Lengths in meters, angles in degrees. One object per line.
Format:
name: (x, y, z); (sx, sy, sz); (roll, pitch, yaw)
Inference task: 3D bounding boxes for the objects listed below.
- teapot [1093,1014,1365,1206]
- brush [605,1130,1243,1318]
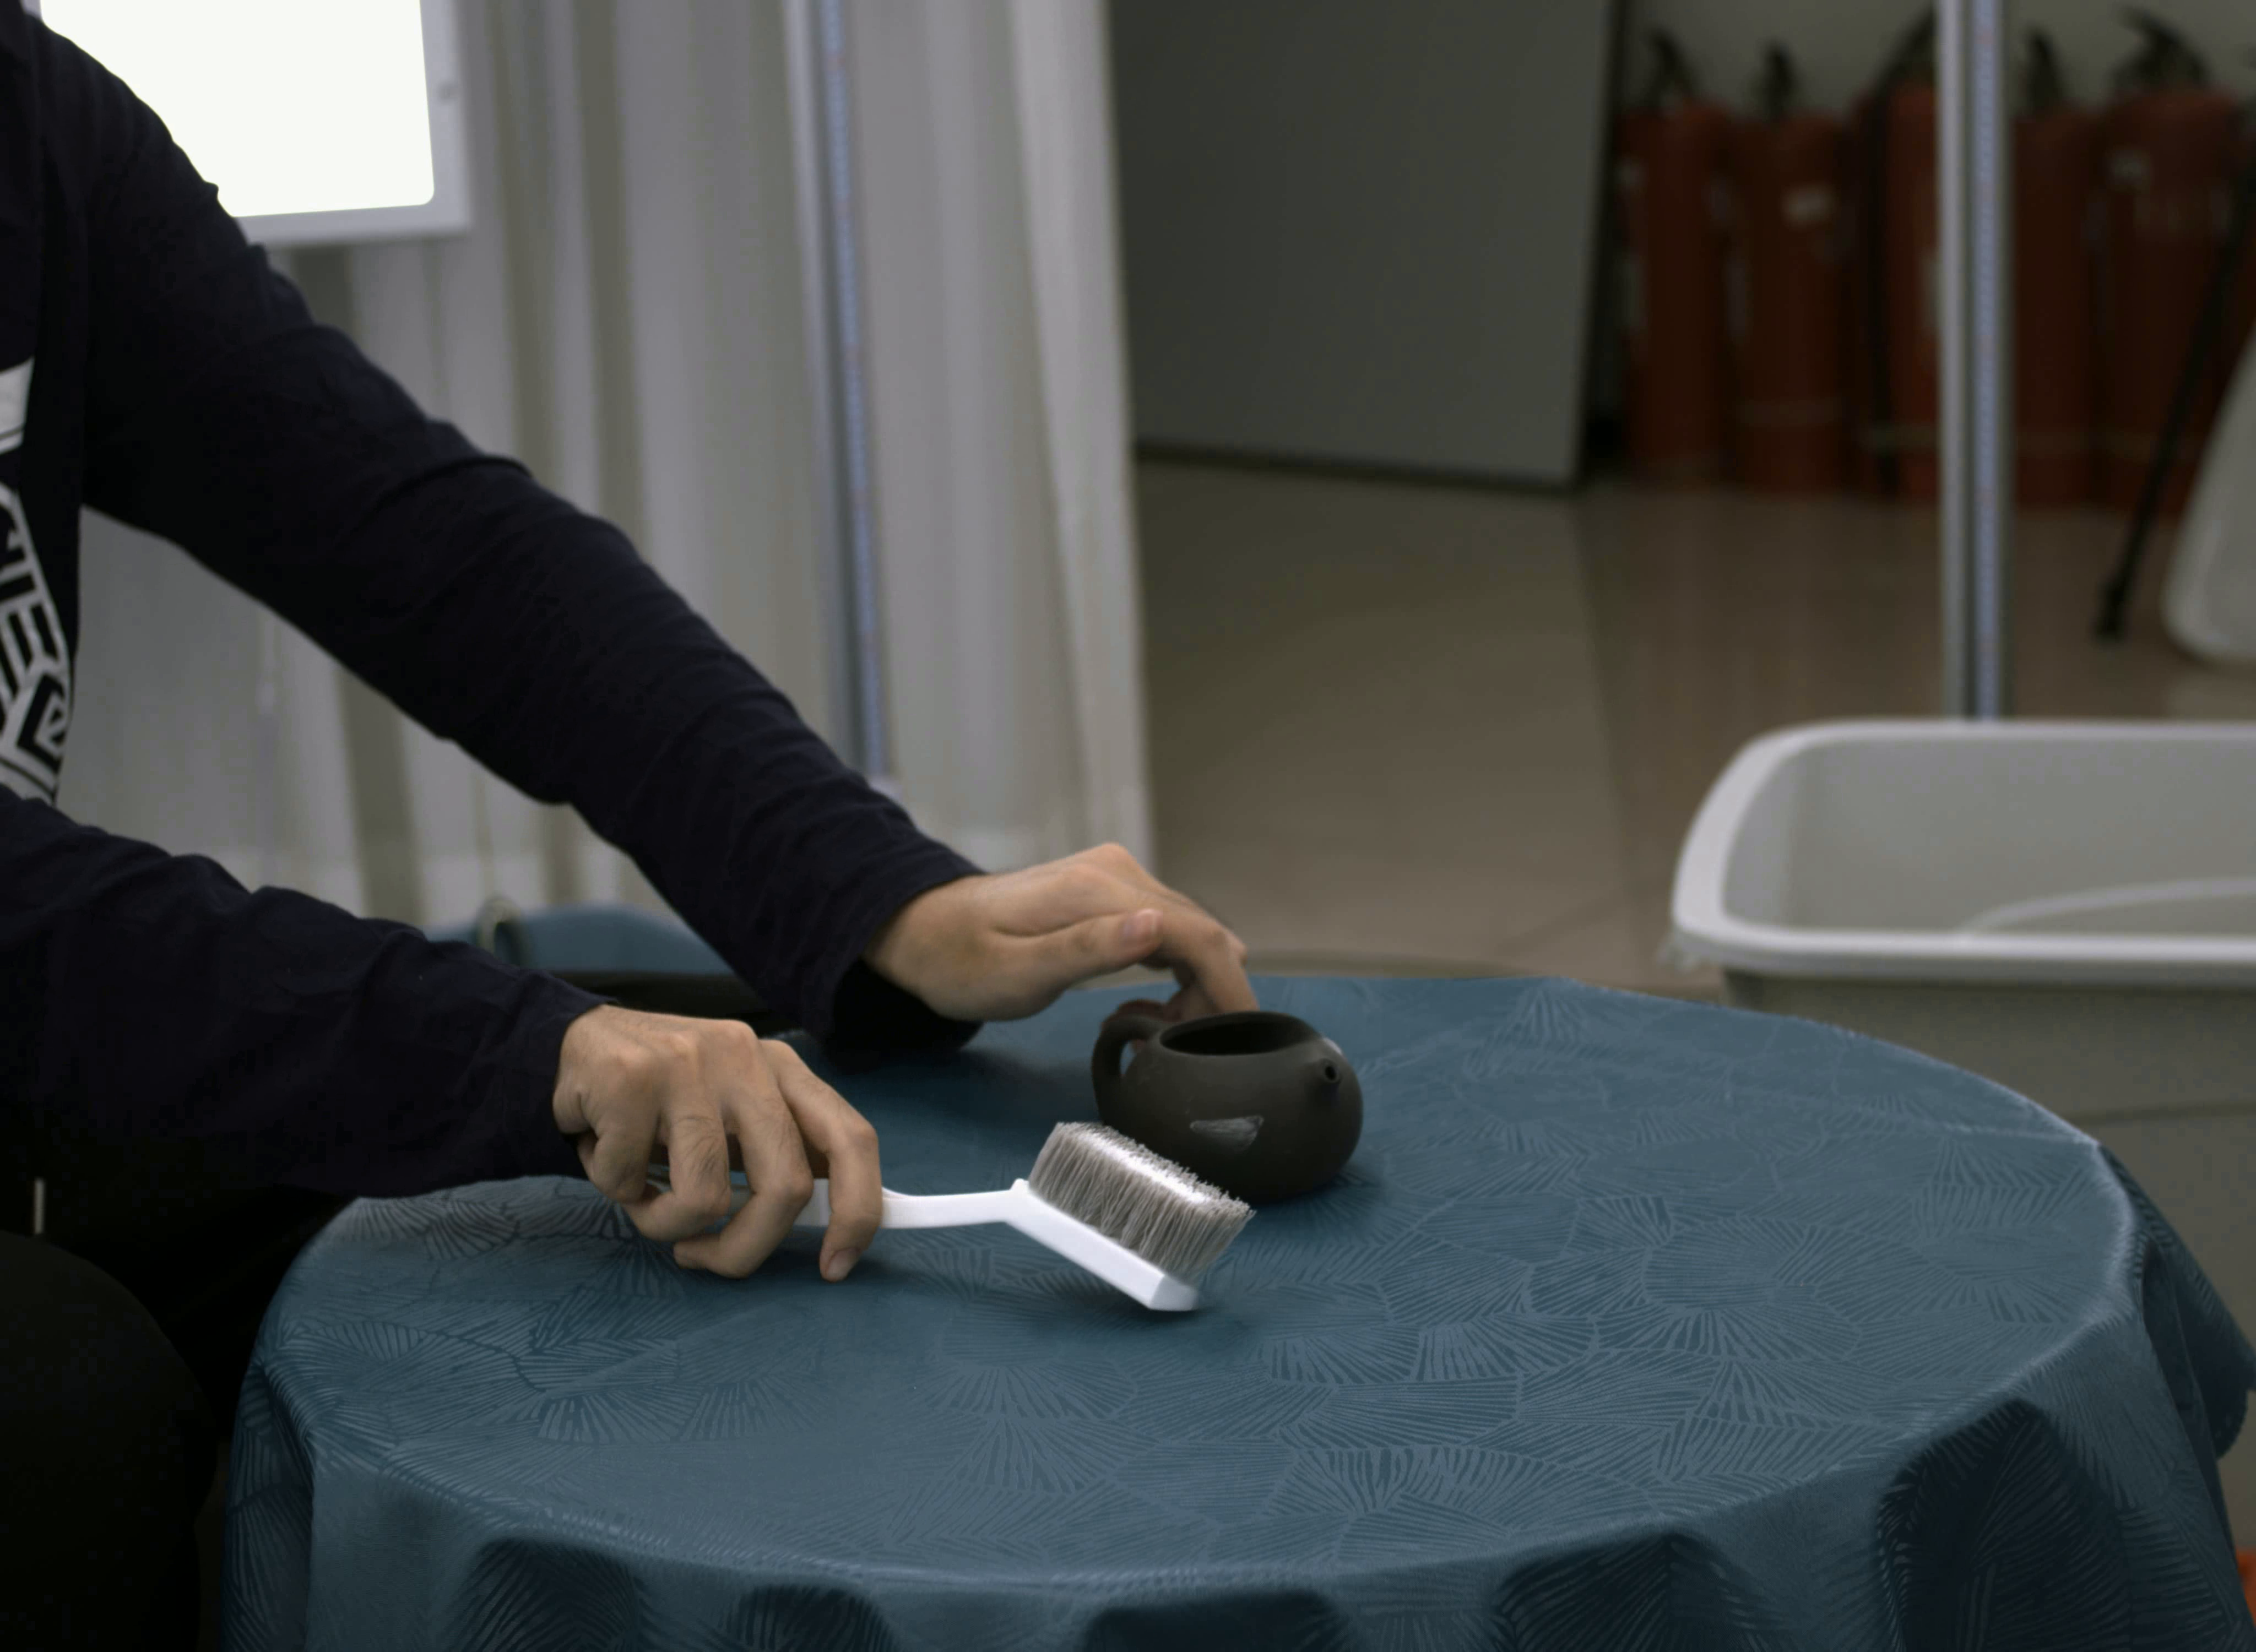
teapot: (0.029, 0.091, 1.782); (0.081, 0.053, 0.115); (-17, 19, -39)
brush: (-0.069, 0.112, 1.710); (0.245, 0.051, 0.034); (8, 7, 36)
